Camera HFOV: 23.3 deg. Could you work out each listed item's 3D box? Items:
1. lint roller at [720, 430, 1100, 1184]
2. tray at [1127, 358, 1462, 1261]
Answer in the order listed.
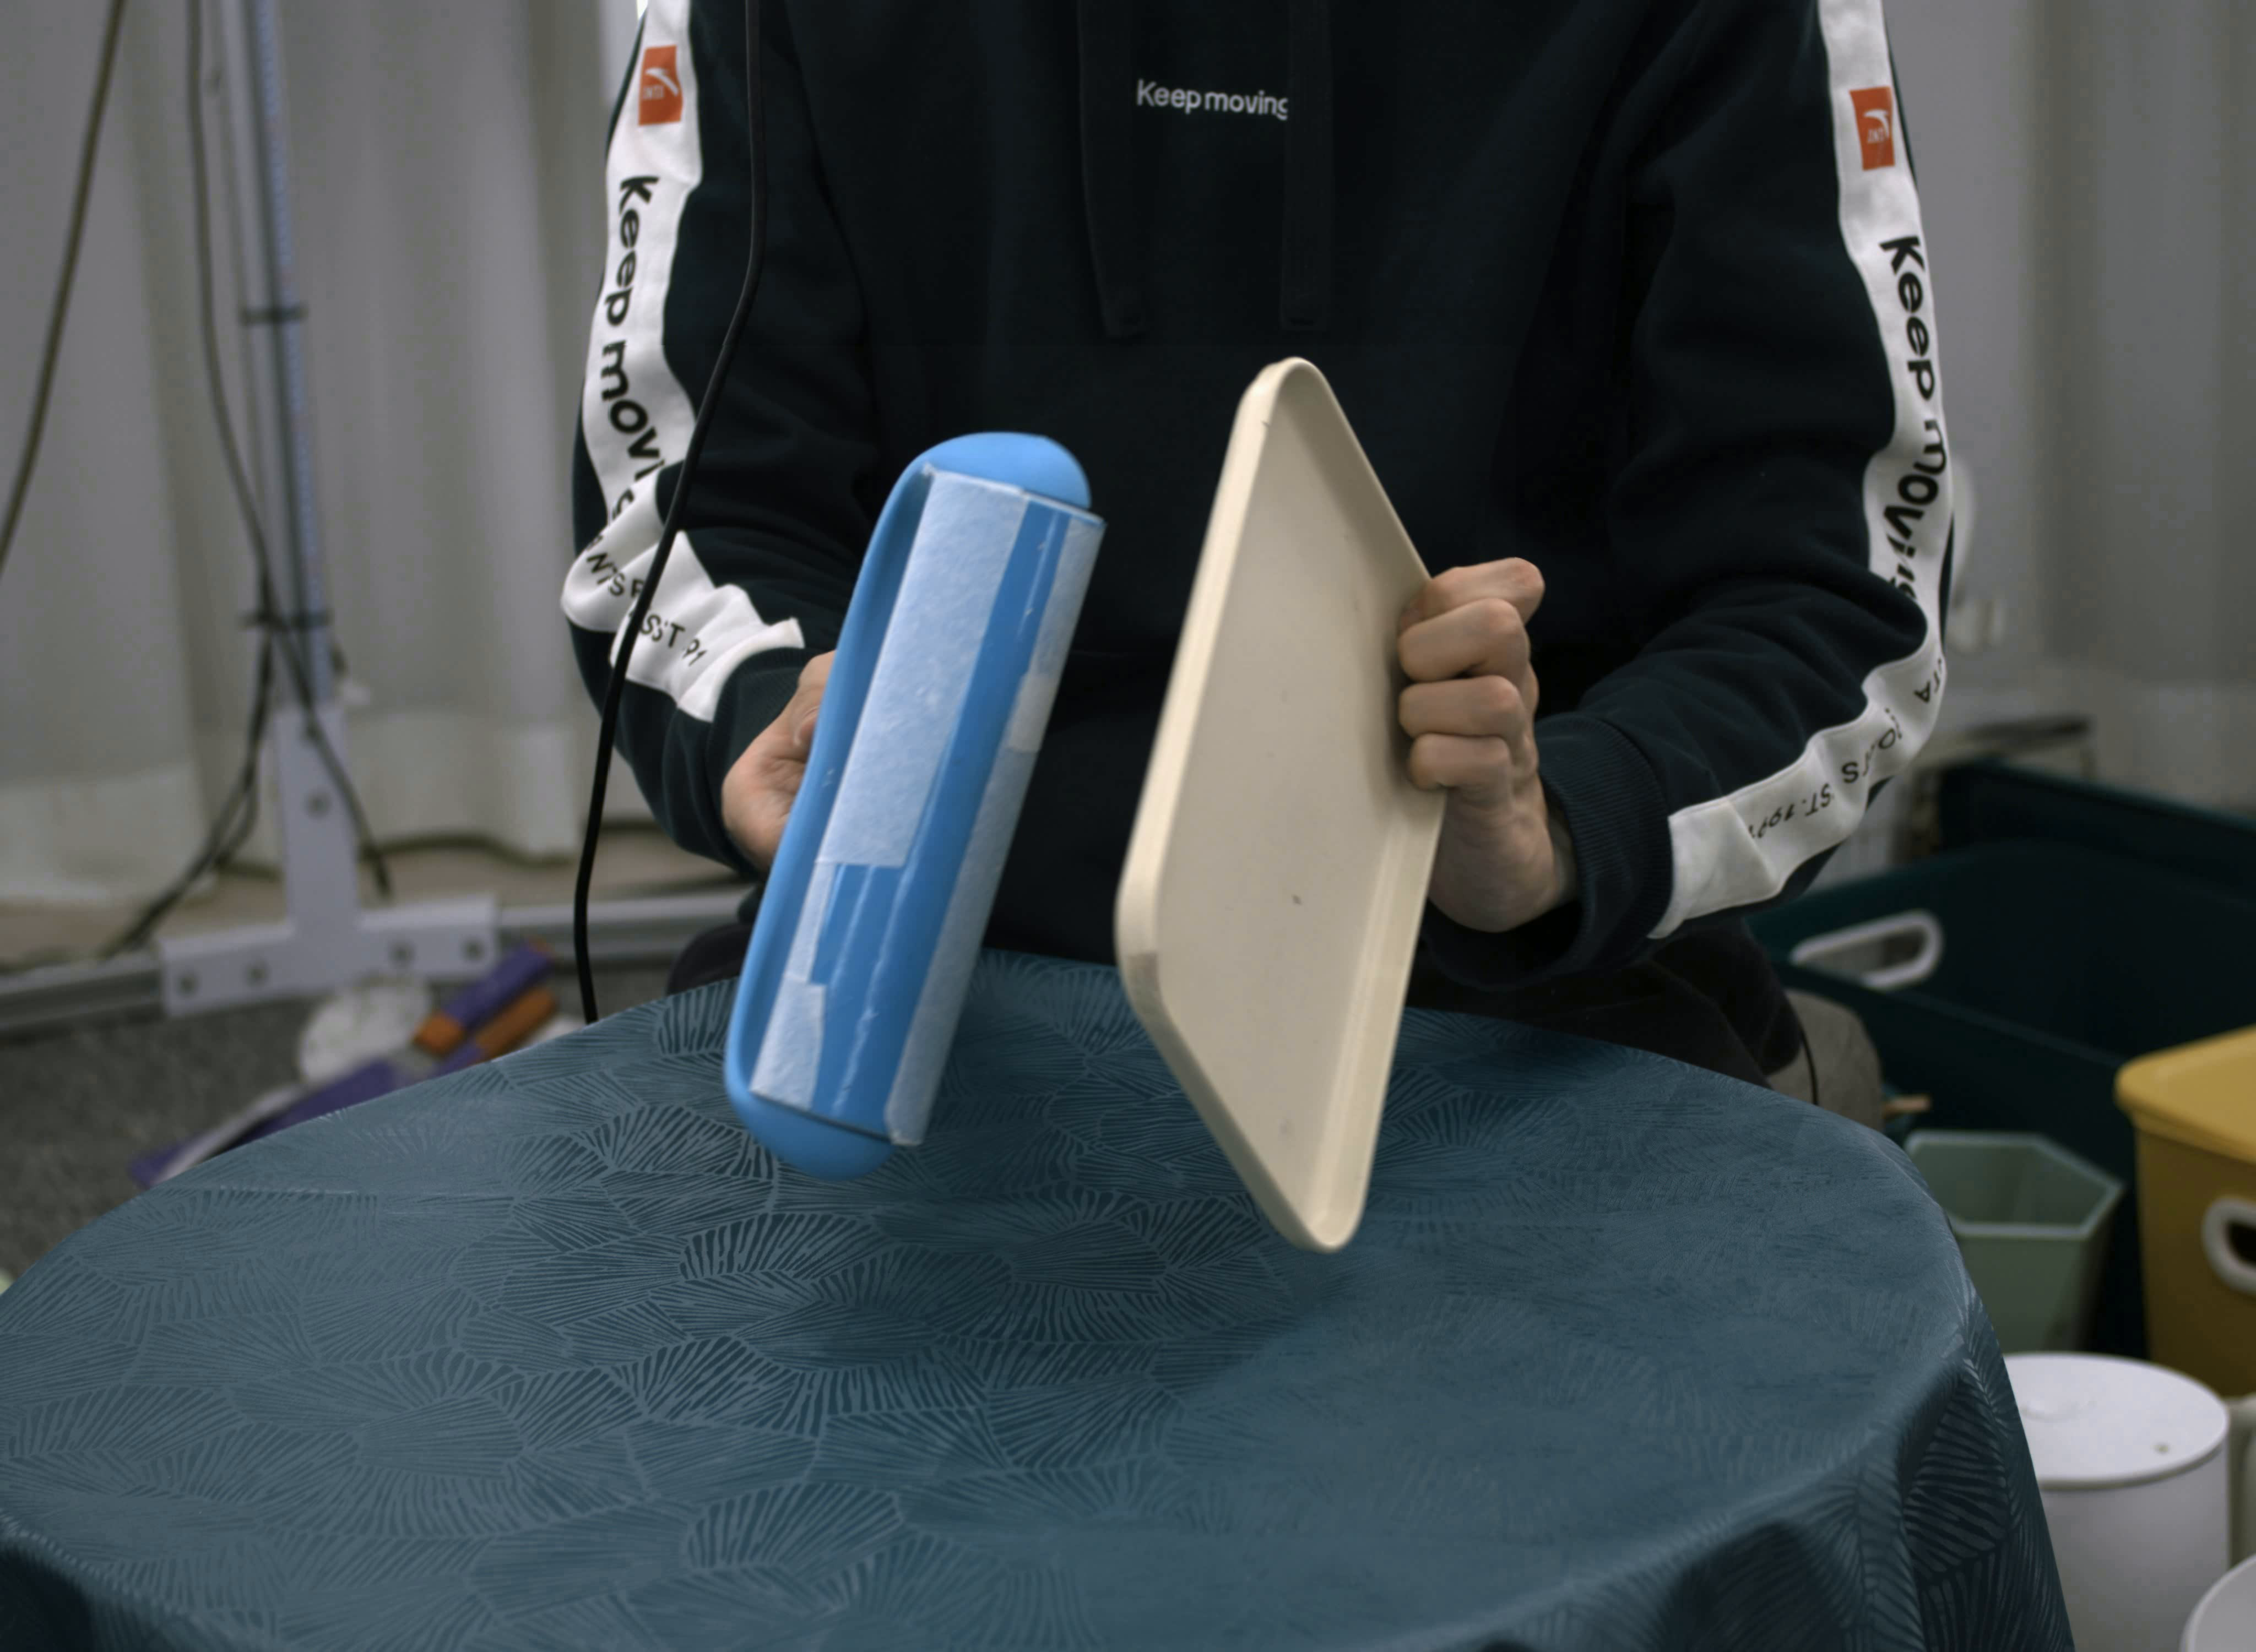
[{"bbox_3d":[-0.071,-0.005,1.672,0.067,0.230,0.180,16,-4,-9],"label":"lint roller"},{"bbox_3d":[0.050,-0.006,1.619,0.017,0.169,0.243,-5,51,23],"label":"tray"}]
